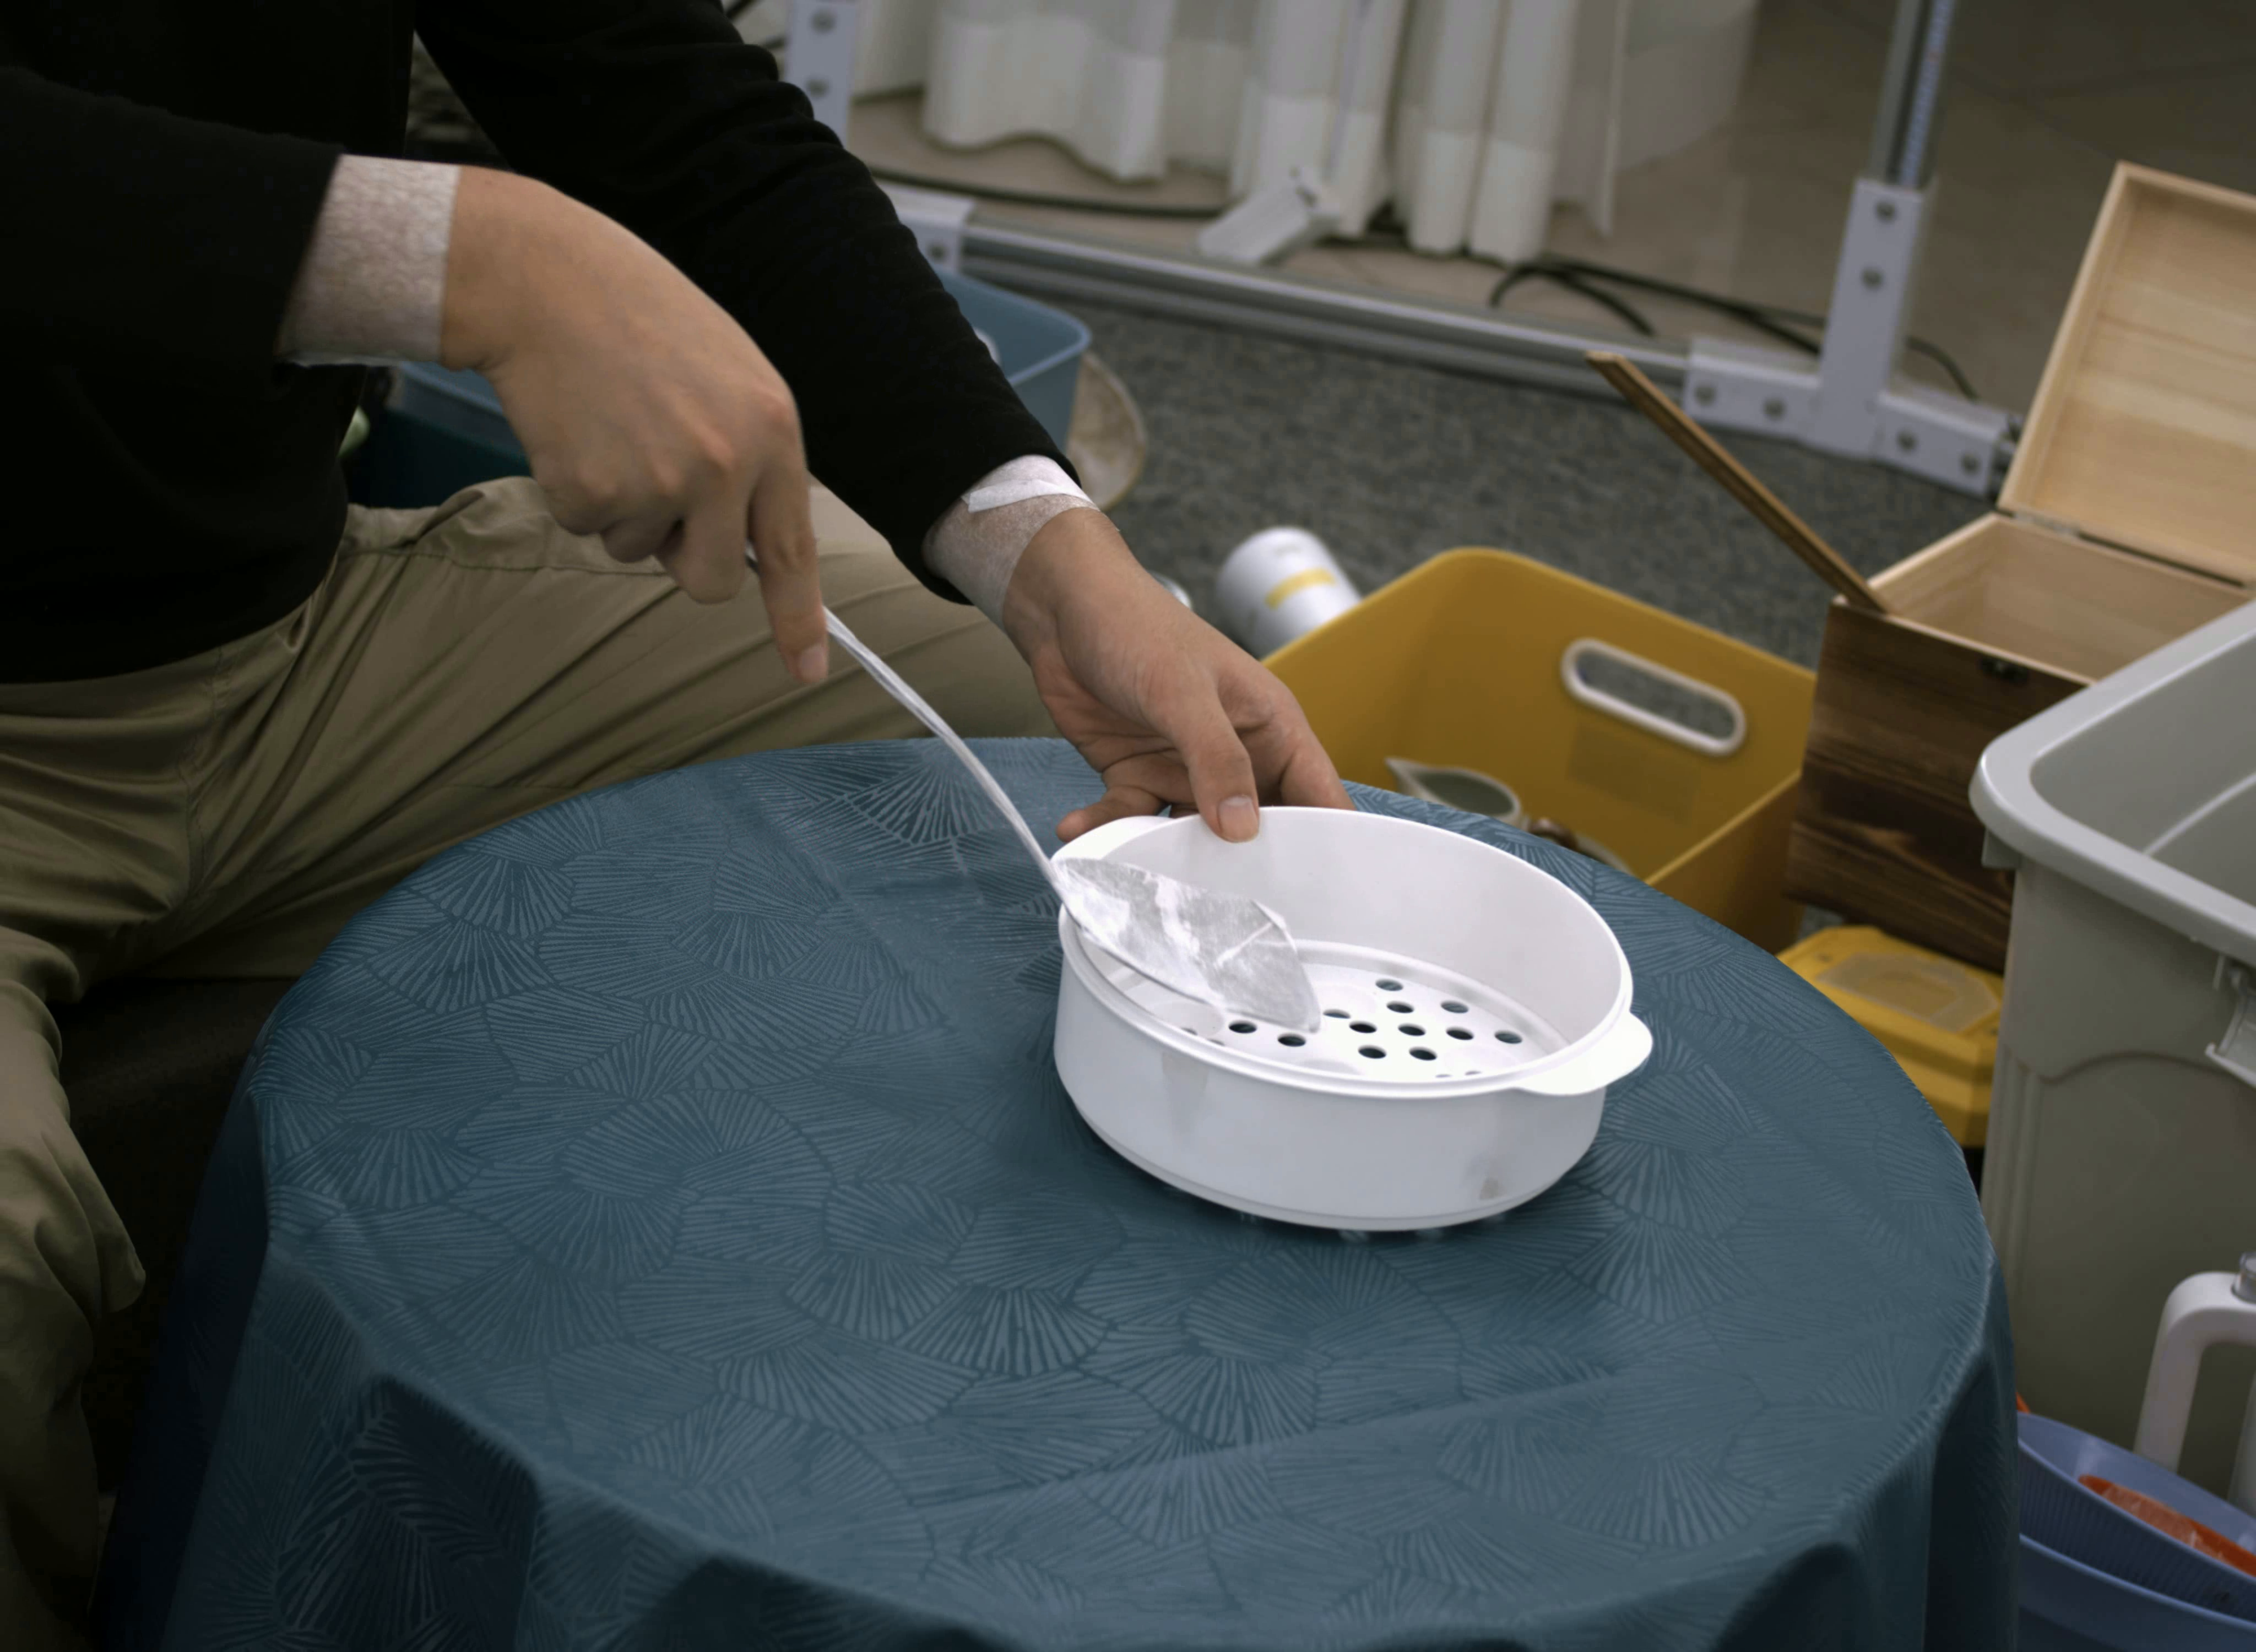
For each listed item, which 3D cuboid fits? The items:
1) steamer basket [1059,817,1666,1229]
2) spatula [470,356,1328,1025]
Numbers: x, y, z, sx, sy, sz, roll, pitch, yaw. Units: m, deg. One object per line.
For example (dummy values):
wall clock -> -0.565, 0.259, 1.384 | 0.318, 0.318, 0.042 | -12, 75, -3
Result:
steamer basket -> 0.076, 0.069, 1.850 | 0.232, 0.069, 0.201 | 23, 30, 31
spatula -> -0.071, -0.047, 1.762 | 0.362, 0.045, 0.099 | 43, 15, -23
